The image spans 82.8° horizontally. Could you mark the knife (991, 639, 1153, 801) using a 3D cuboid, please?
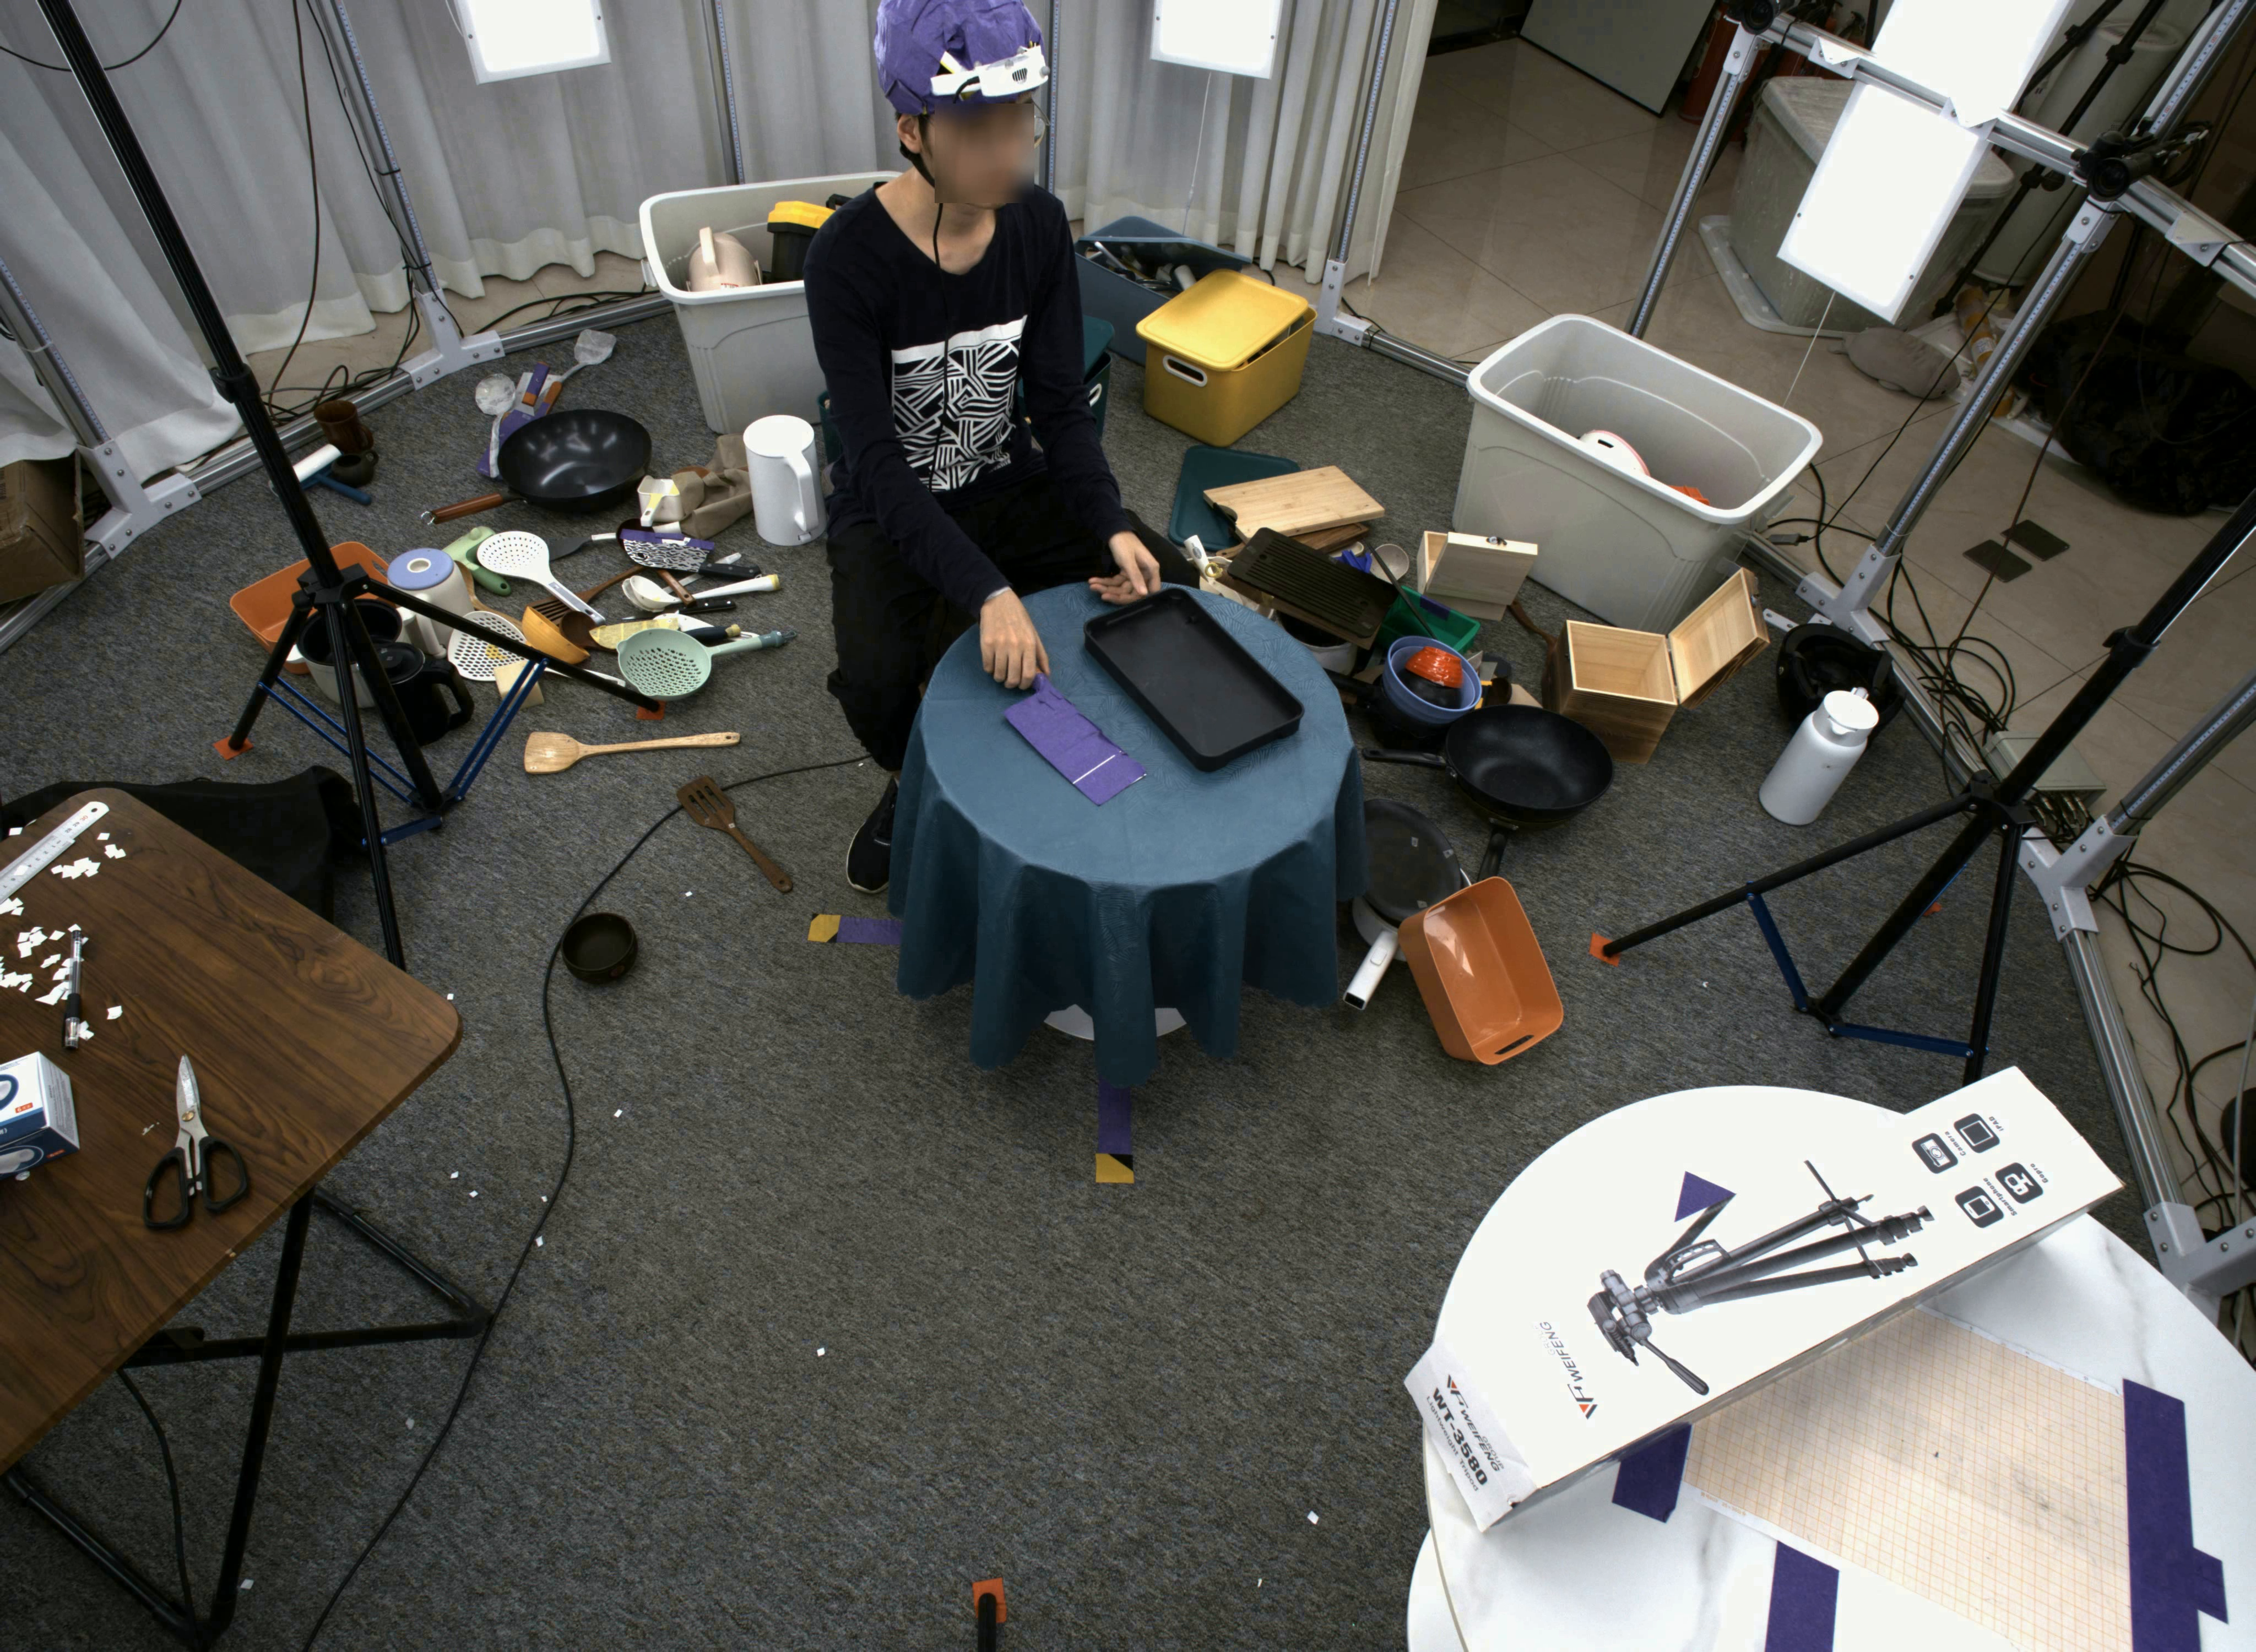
[{"bbox_3d":[-0.106,-0.150,1.772,0.104,0.031,0.320,-32,59,-28],"label":"knife"}]

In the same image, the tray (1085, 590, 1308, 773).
[{"bbox_3d":[0.093,-0.213,1.837,0.185,0.036,0.324,-26,54,-24],"label":"tray"}]
